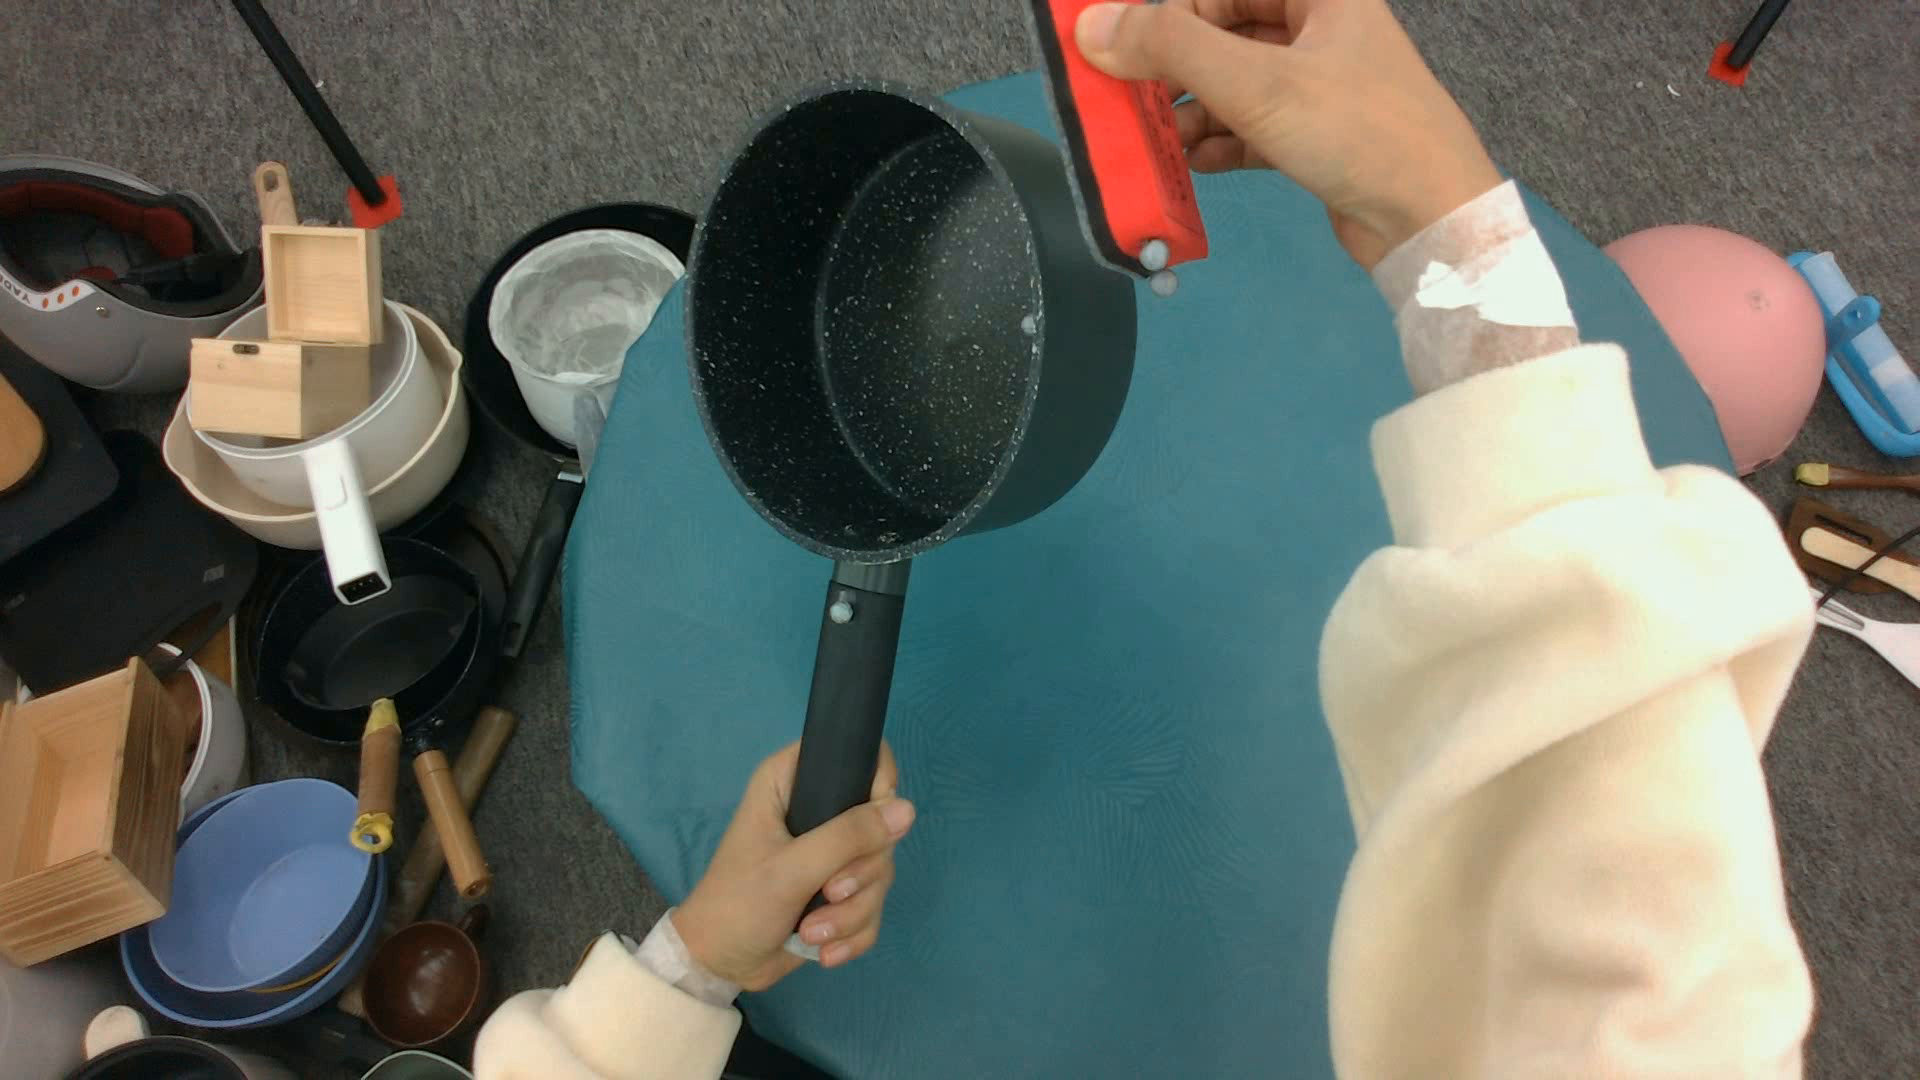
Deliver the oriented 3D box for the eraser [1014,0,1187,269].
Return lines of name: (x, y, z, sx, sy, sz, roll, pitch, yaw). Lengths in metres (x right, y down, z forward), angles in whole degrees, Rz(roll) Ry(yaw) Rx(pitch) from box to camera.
eraser: (0.039, -0.137, 0.409, 0.023, 0.059, 0.108, -16, 86, 22)

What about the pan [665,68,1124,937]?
pan: (-0.035, -0.008, 0.540, 0.172, 0.087, 0.328, 16, 104, 34)
